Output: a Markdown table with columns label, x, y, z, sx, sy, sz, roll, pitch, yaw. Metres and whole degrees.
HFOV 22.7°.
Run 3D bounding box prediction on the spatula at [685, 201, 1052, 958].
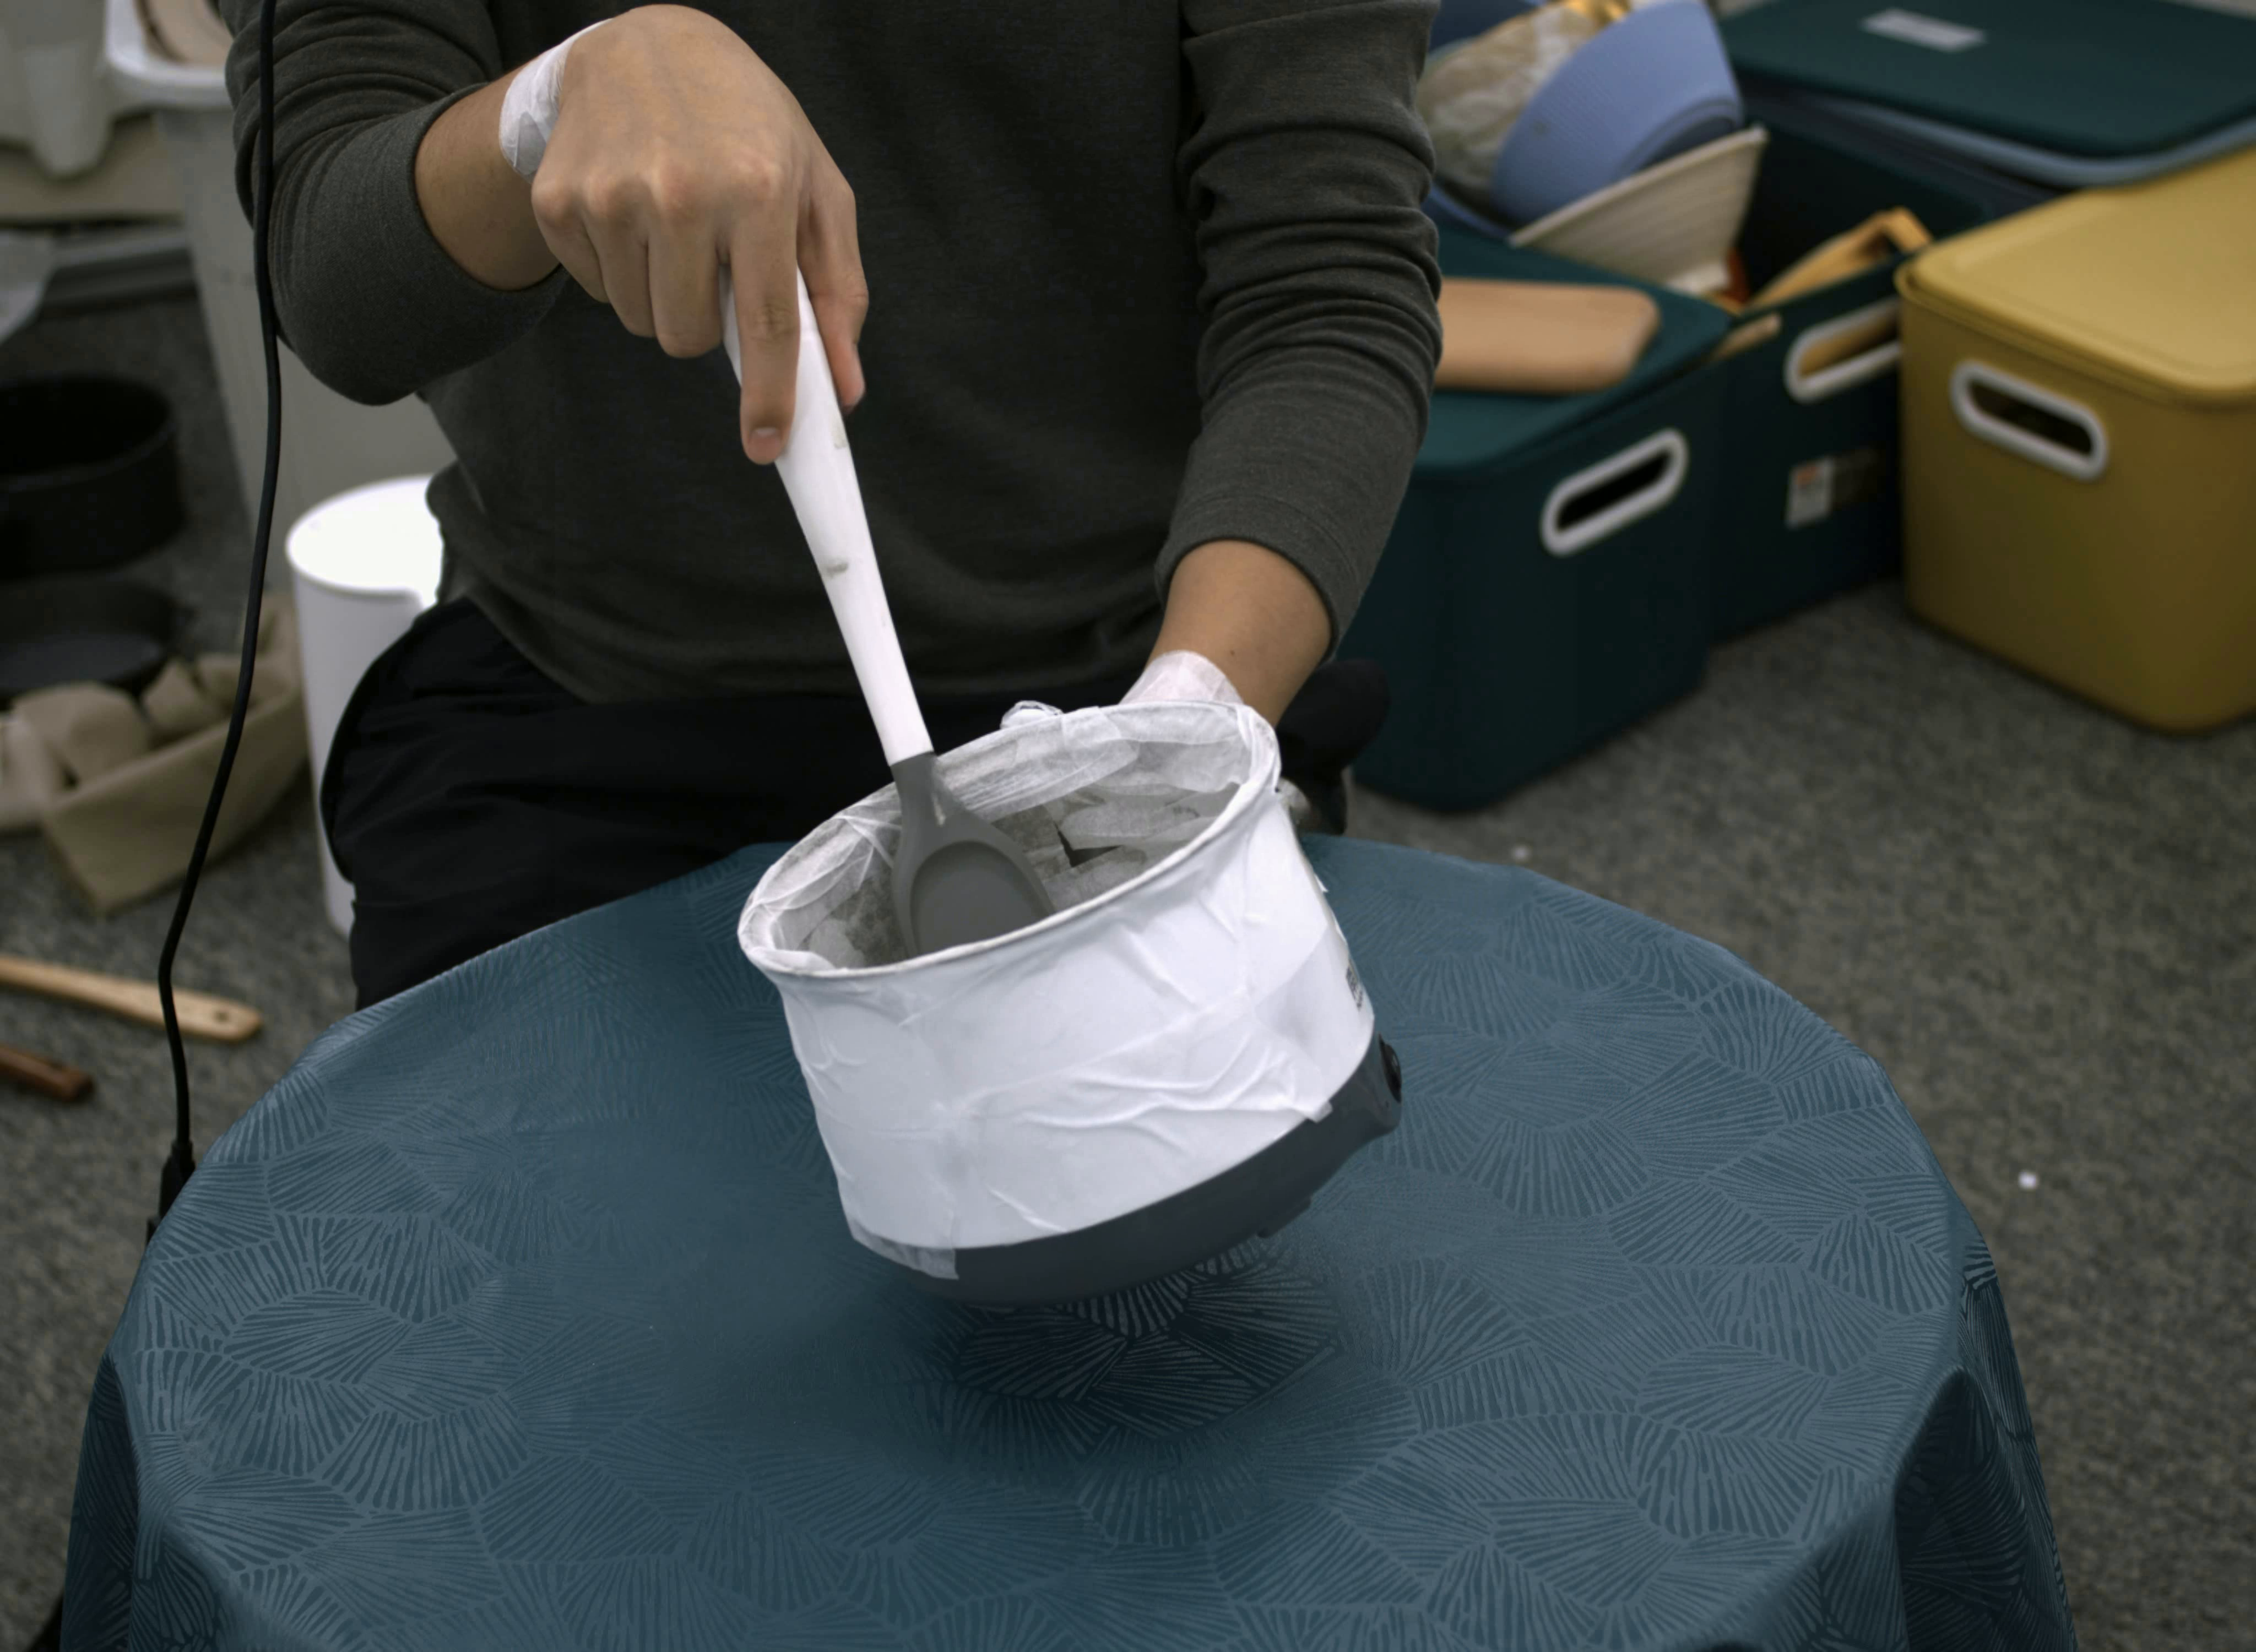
| label | x | y | z | sx | sy | sz | roll | pitch | yaw |
| --- | --- | --- | --- | --- | --- | --- | --- | --- | --- |
| spatula | -0.079 | -0.056 | 1.779 | 0.059 | 0.289 | 0.032 | -18 | -2 | -19 |

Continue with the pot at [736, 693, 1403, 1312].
| label | x | y | z | sx | sy | sz | roll | pitch | yaw |
| --- | --- | --- | --- | --- | --- | --- | --- | --- | --- |
| pot | -0.016 | 0.046 | 1.773 | 0.177 | 0.136 | 0.236 | -17 | 20 | 8 |
